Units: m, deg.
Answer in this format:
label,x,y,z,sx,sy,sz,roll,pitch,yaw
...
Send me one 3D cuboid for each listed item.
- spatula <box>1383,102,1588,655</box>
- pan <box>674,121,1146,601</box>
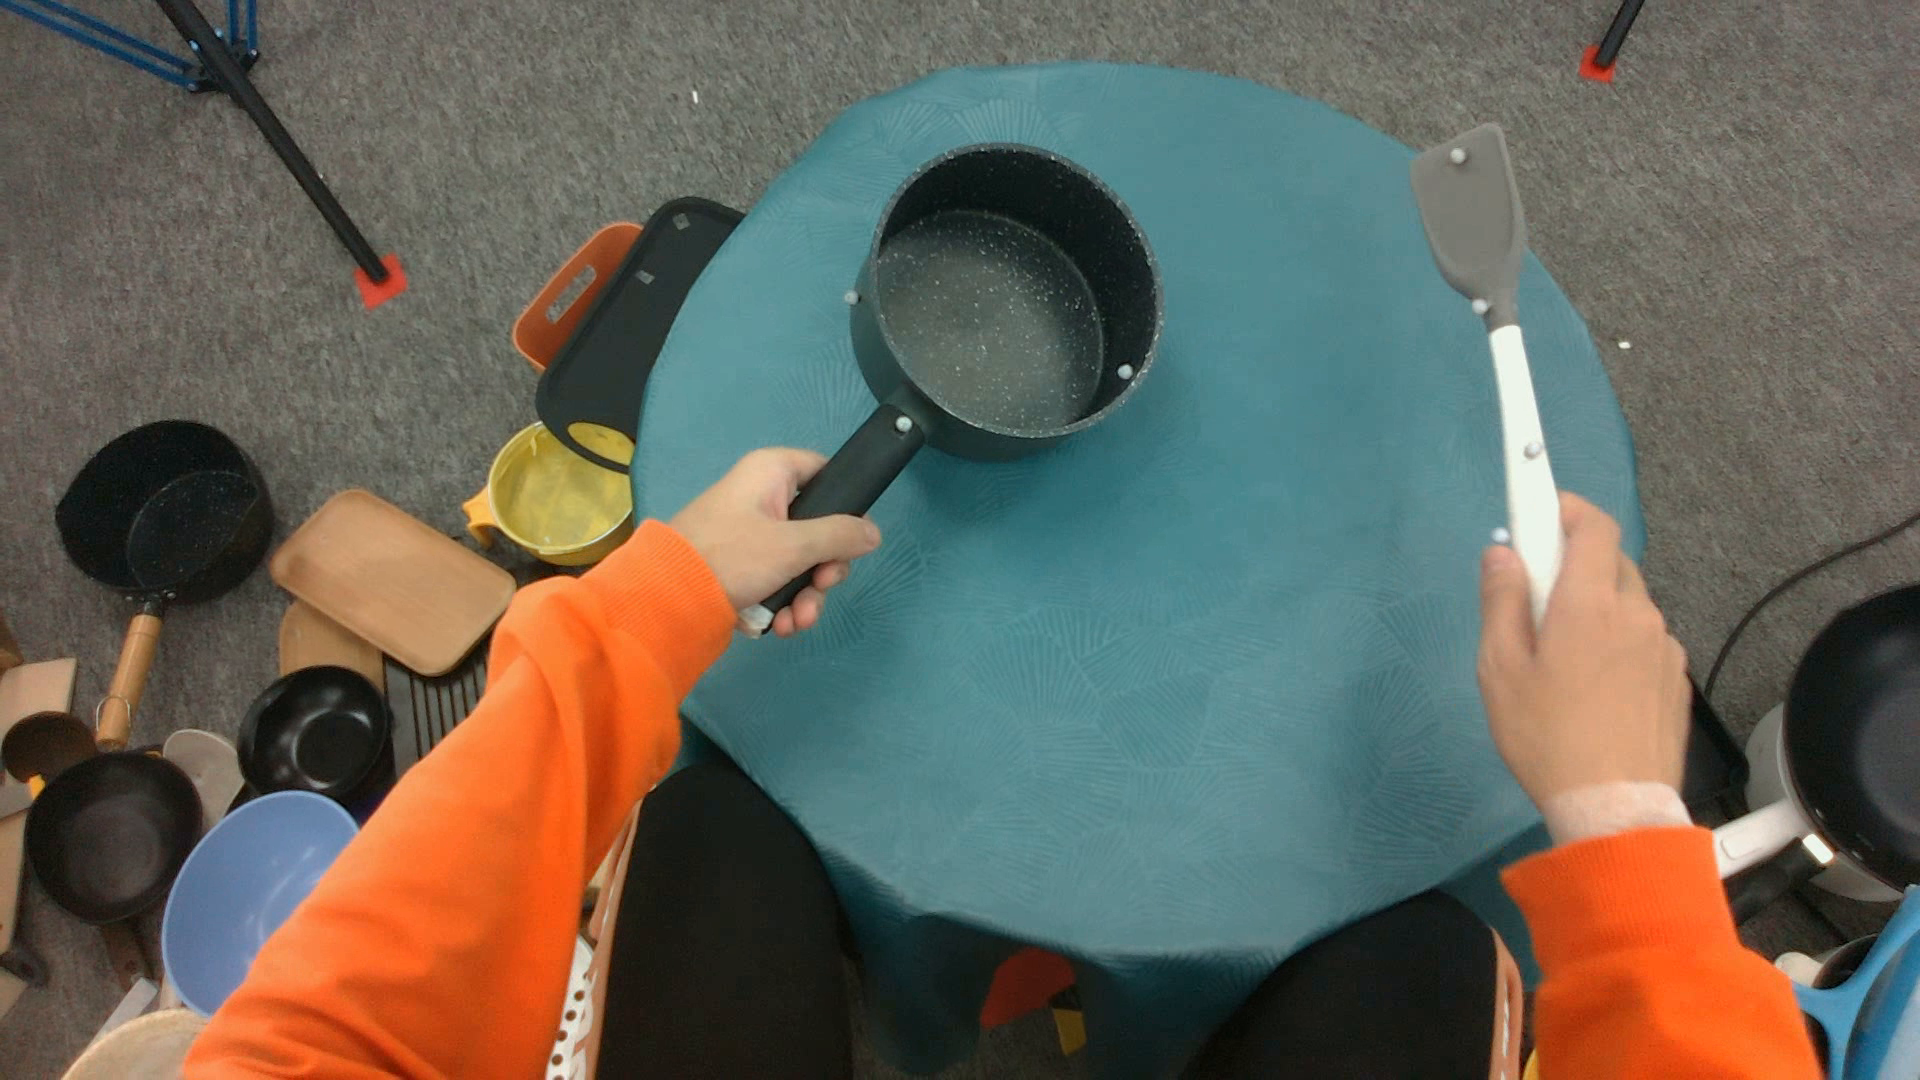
label,x,y,z,sx,sy,sz,roll,pitch,yaw
spatula,0.264,-0.085,0.686,0.032,0.058,0.288,12,65,-39
pan,-0.035,-0.086,0.751,0.172,0.086,0.330,43,67,-4
